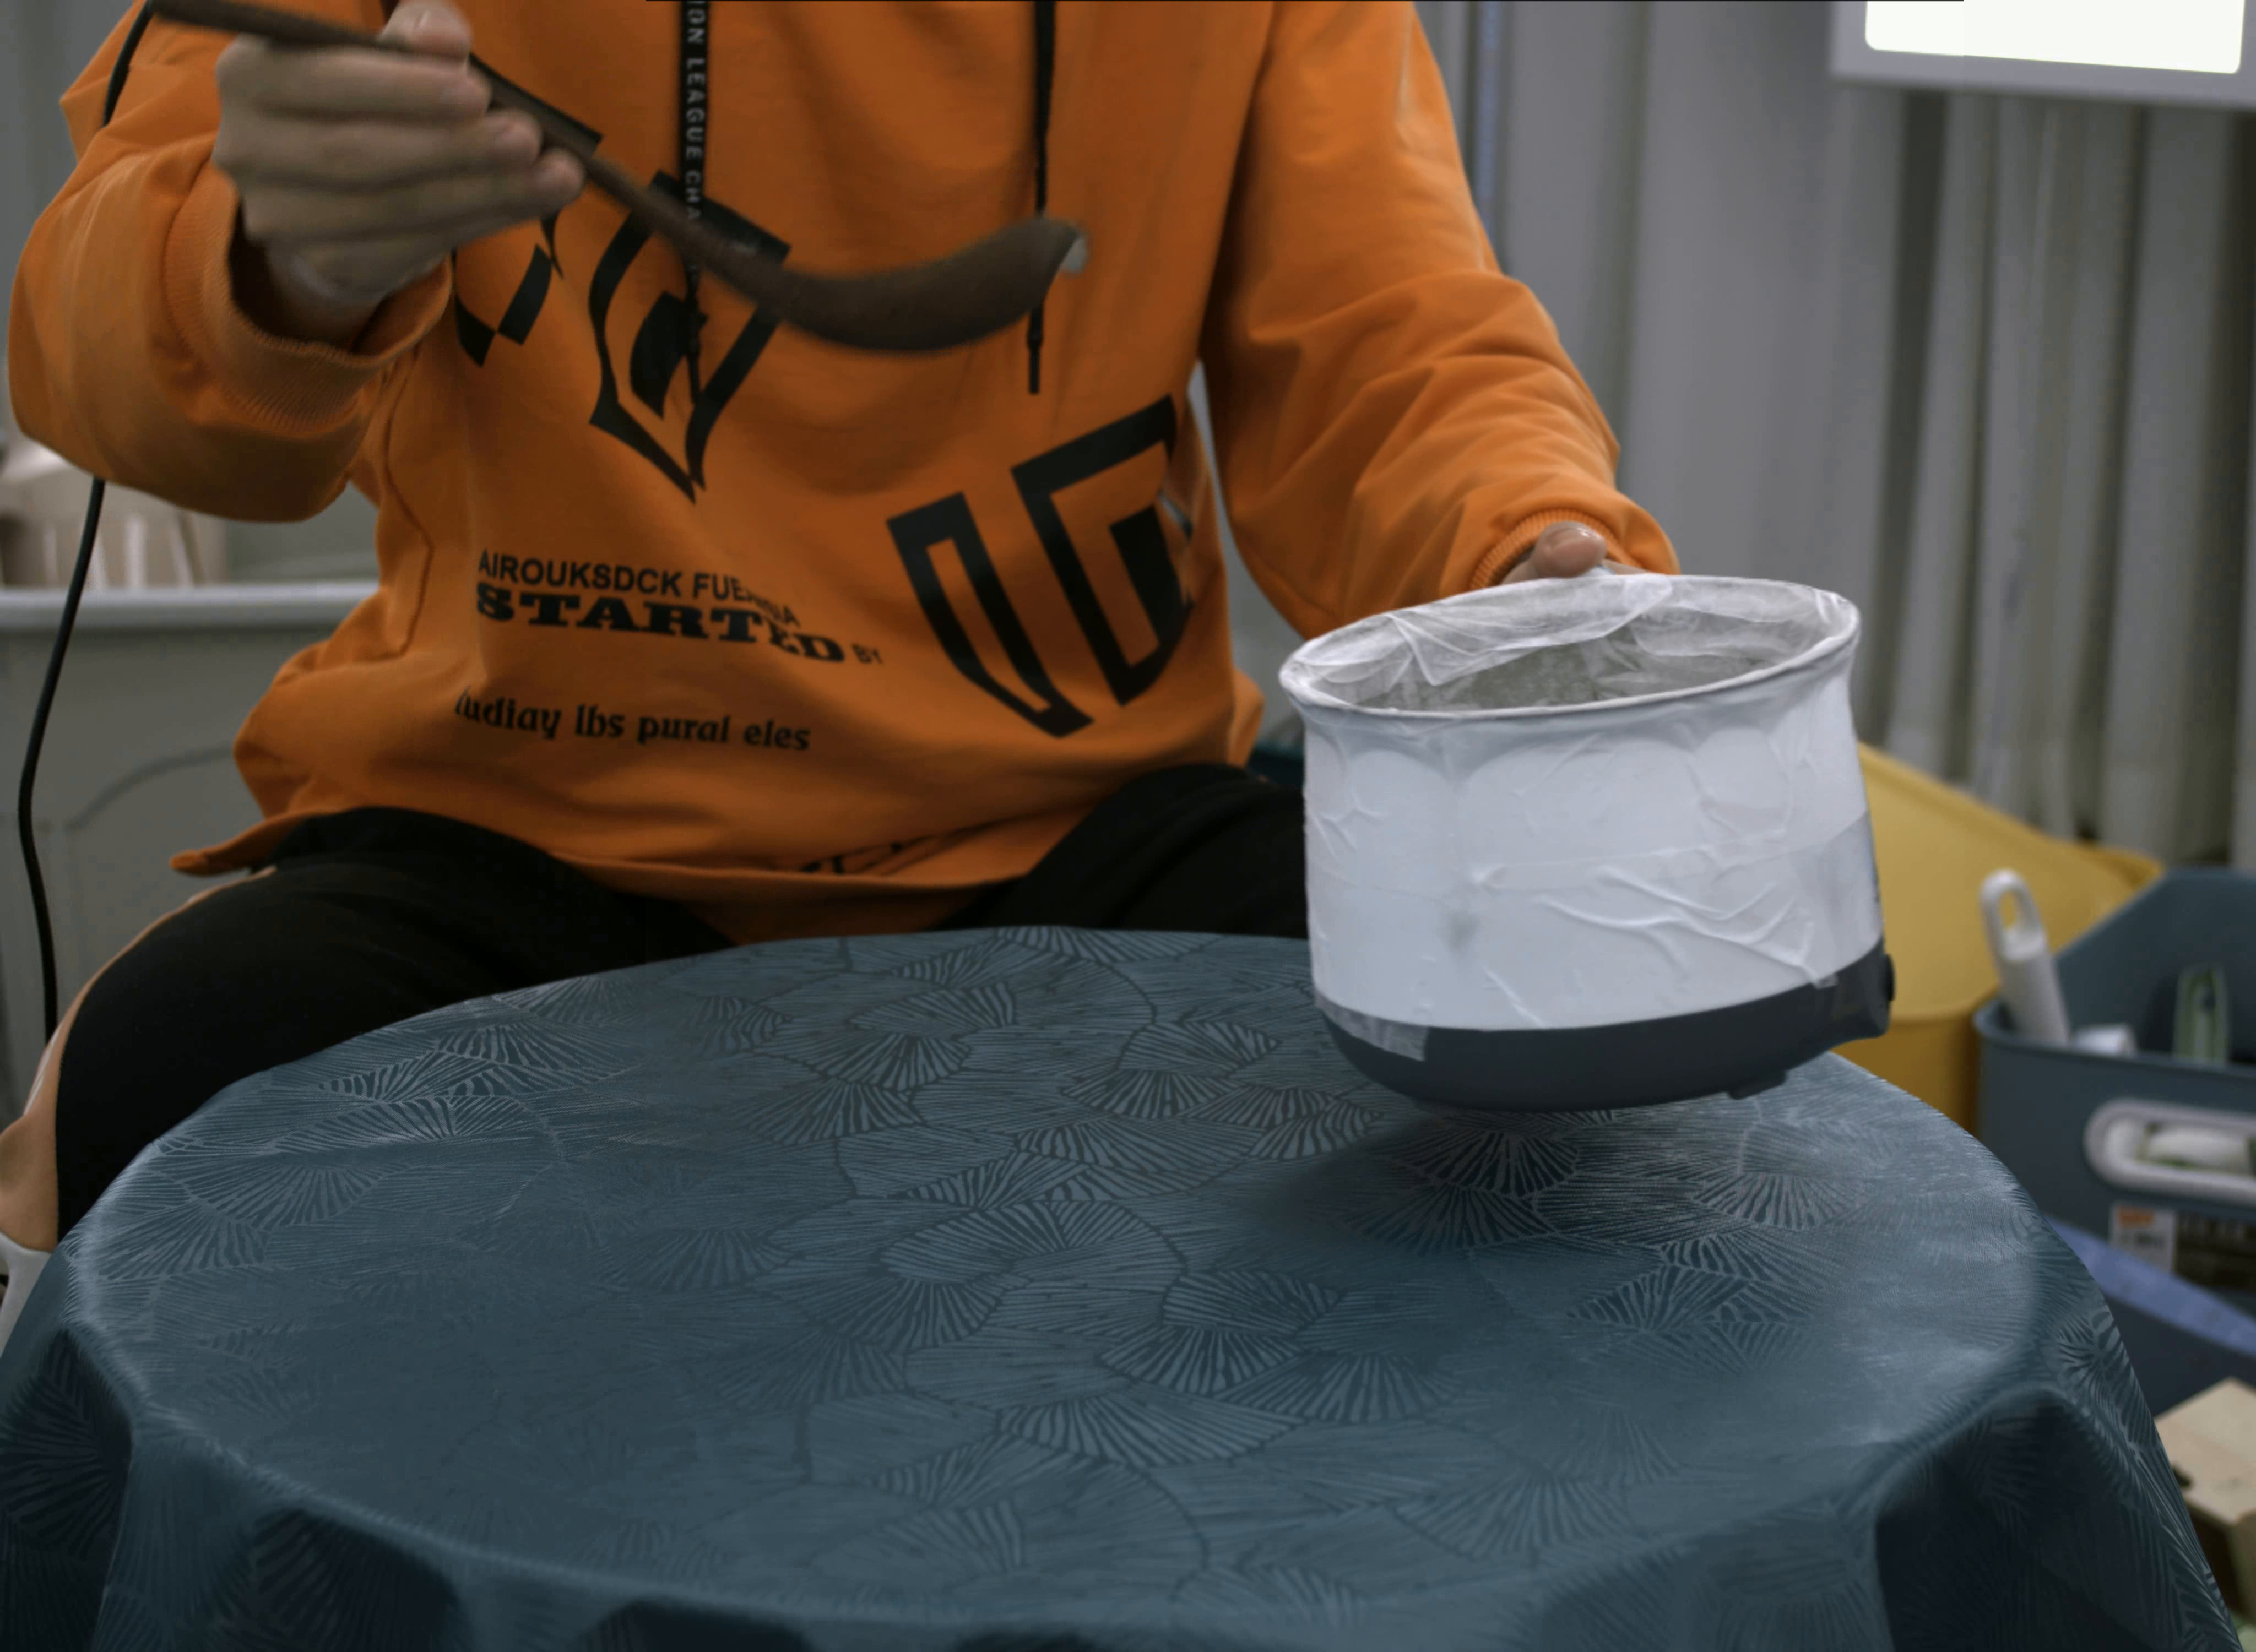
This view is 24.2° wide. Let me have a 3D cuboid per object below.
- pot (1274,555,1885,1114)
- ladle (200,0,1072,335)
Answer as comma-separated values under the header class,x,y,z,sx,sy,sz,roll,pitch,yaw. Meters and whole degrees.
class,x,y,z,sx,sy,sz,roll,pitch,yaw
pot,0.142,-0.002,1.636,0.178,0.138,0.233,-4,14,7
ladle,-0.149,-0.217,1.544,0.274,0.071,0.076,26,-8,-7
